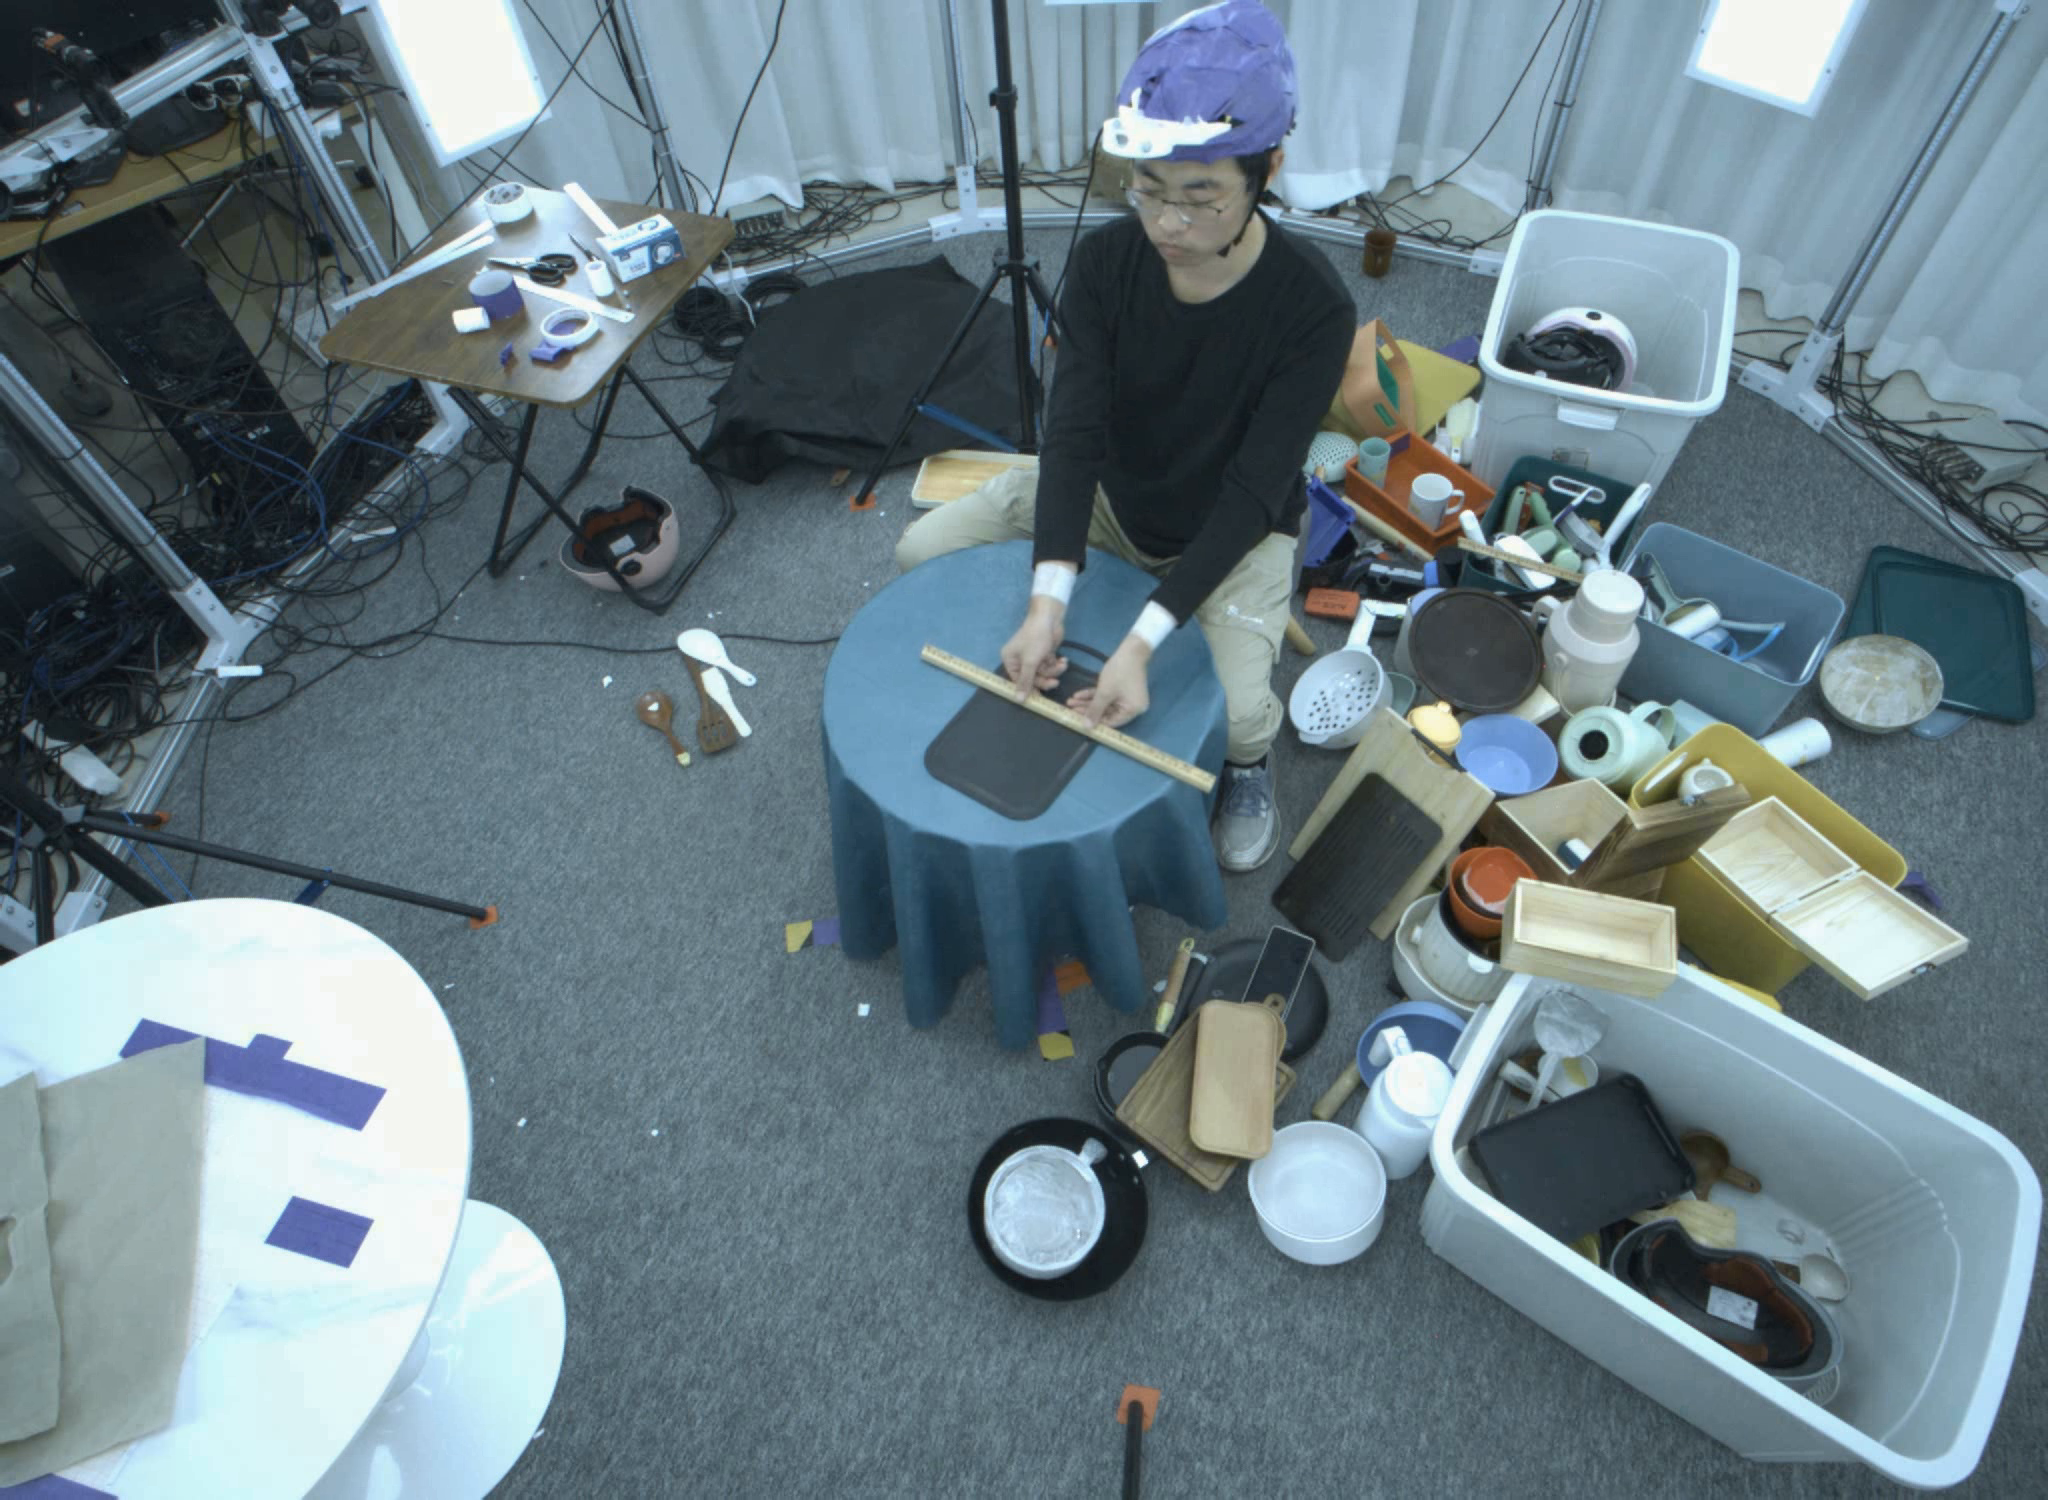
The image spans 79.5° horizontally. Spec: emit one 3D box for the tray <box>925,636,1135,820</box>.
[{"bbox_3d":[0.015,-0.046,1.816,0.208,0.010,0.327,29,61,20],"label":"tray"}]

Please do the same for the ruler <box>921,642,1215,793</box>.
[{"bbox_3d":[0.055,-0.054,1.809,0.493,0.006,0.027,26,93,19],"label":"ruler"}]
